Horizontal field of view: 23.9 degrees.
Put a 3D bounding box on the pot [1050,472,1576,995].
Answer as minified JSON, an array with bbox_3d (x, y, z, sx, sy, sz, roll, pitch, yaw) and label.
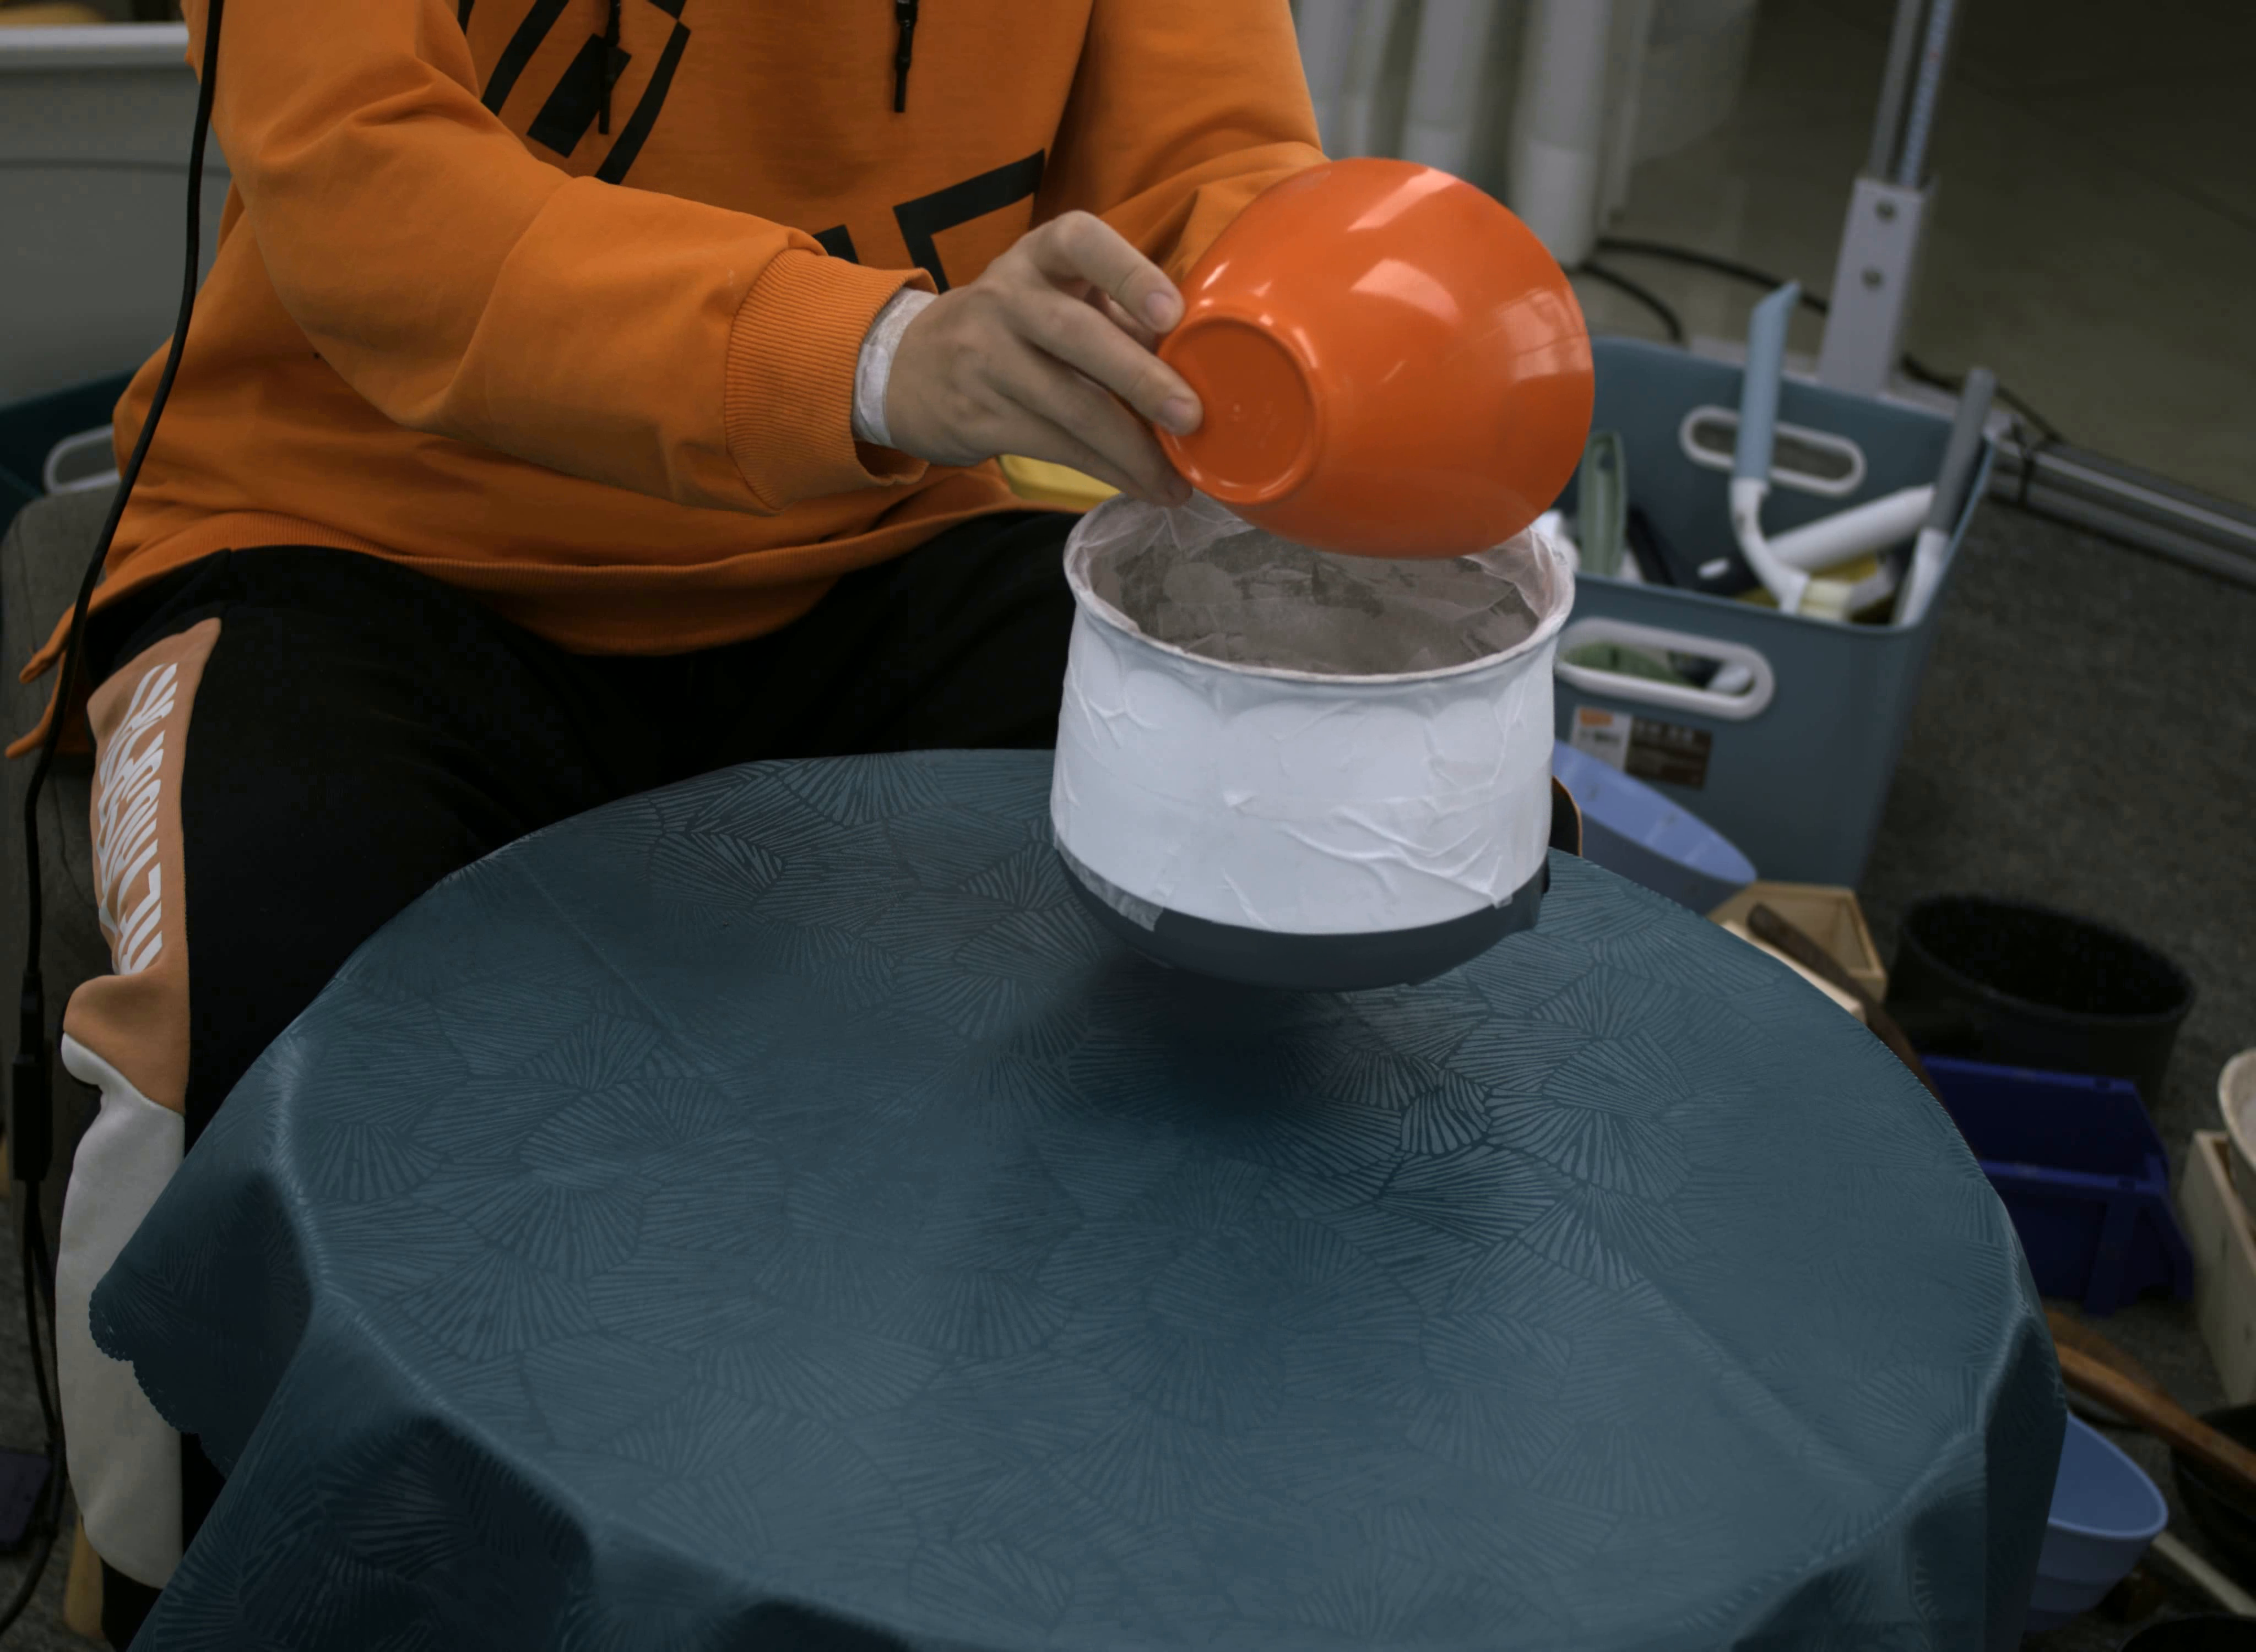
[{"bbox_3d":[0.062,-0.045,1.881,0.178,0.136,0.235,3,27,-1],"label":"pot"}]

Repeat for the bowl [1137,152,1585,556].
[{"bbox_3d":[0.067,-0.149,1.808,0.149,0.147,0.104,21,29,25],"label":"bowl"}]
